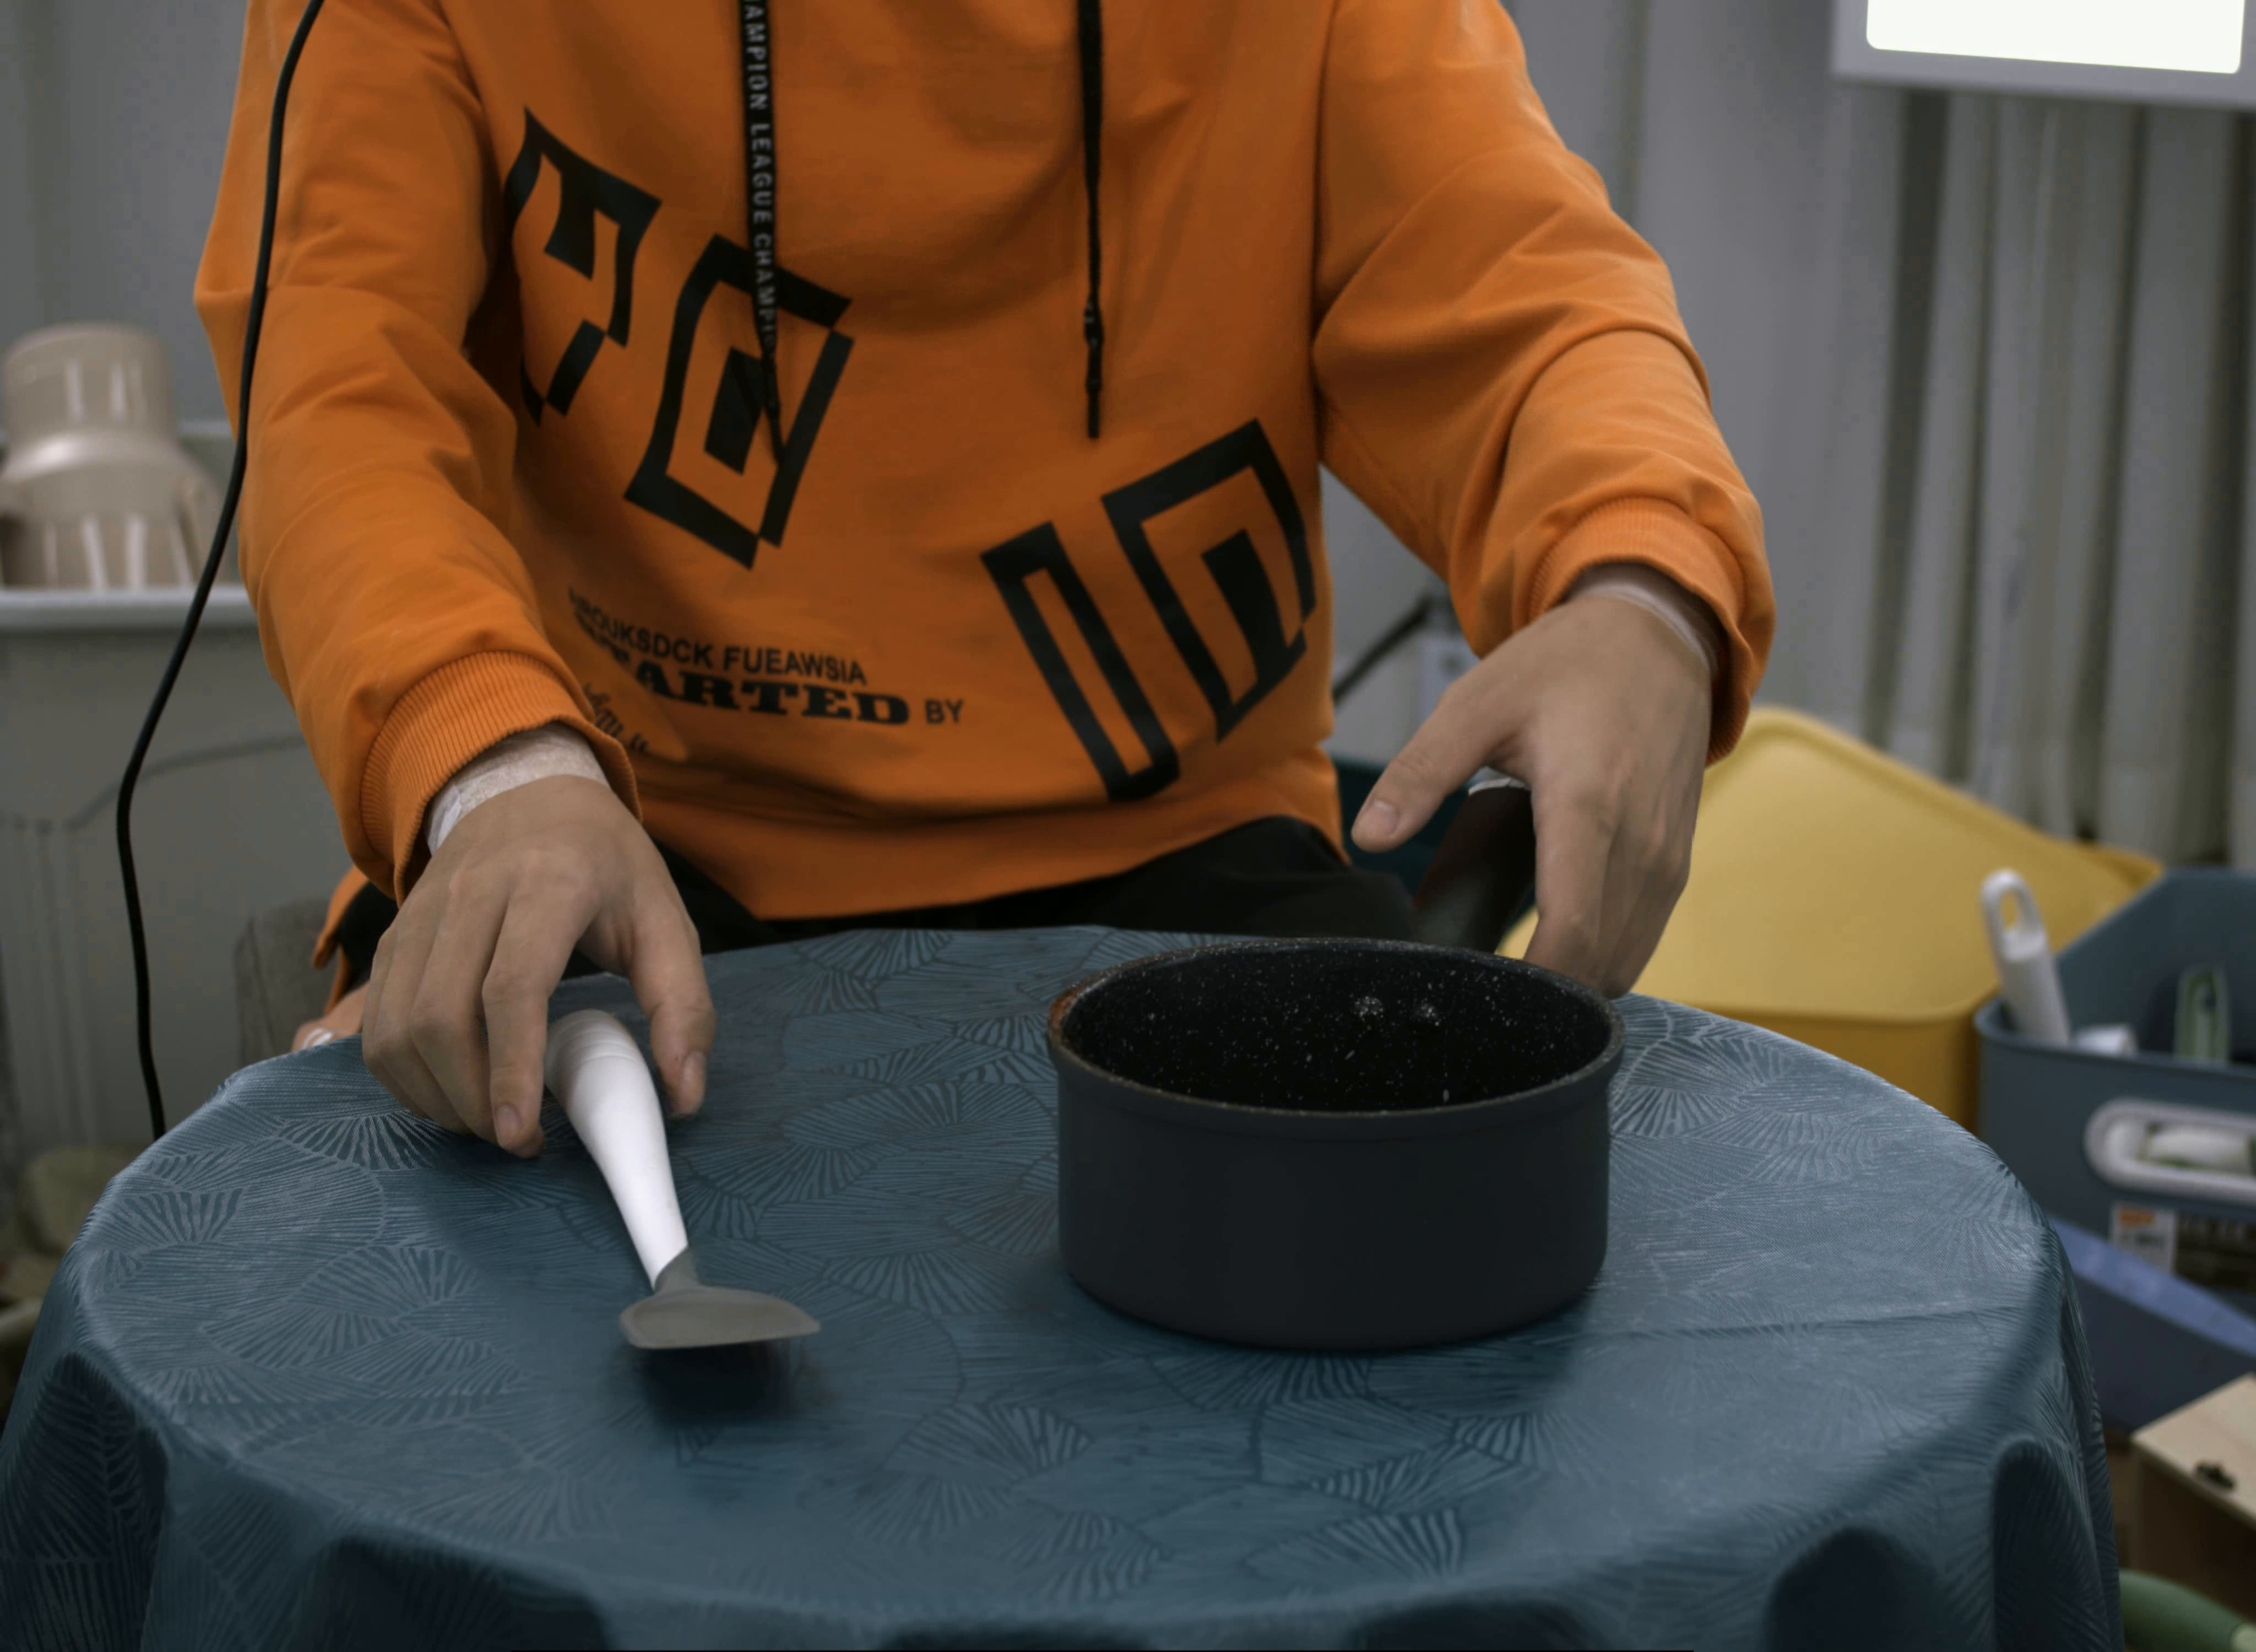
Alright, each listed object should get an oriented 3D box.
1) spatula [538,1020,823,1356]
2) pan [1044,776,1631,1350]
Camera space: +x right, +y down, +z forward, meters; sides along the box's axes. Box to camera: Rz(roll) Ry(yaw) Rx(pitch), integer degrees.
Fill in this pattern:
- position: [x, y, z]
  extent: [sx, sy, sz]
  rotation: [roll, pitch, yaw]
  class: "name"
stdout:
- position: [-0.140, 0.113, 1.558]
  extent: [0.059, 0.032, 0.285]
  rotation: [1, 14, -14]
  class: "spatula"
- position: [0.087, 0.069, 1.623]
  extent: [0.170, 0.087, 0.329]
  rotation: [6, 18, 18]
  class: "pan"
